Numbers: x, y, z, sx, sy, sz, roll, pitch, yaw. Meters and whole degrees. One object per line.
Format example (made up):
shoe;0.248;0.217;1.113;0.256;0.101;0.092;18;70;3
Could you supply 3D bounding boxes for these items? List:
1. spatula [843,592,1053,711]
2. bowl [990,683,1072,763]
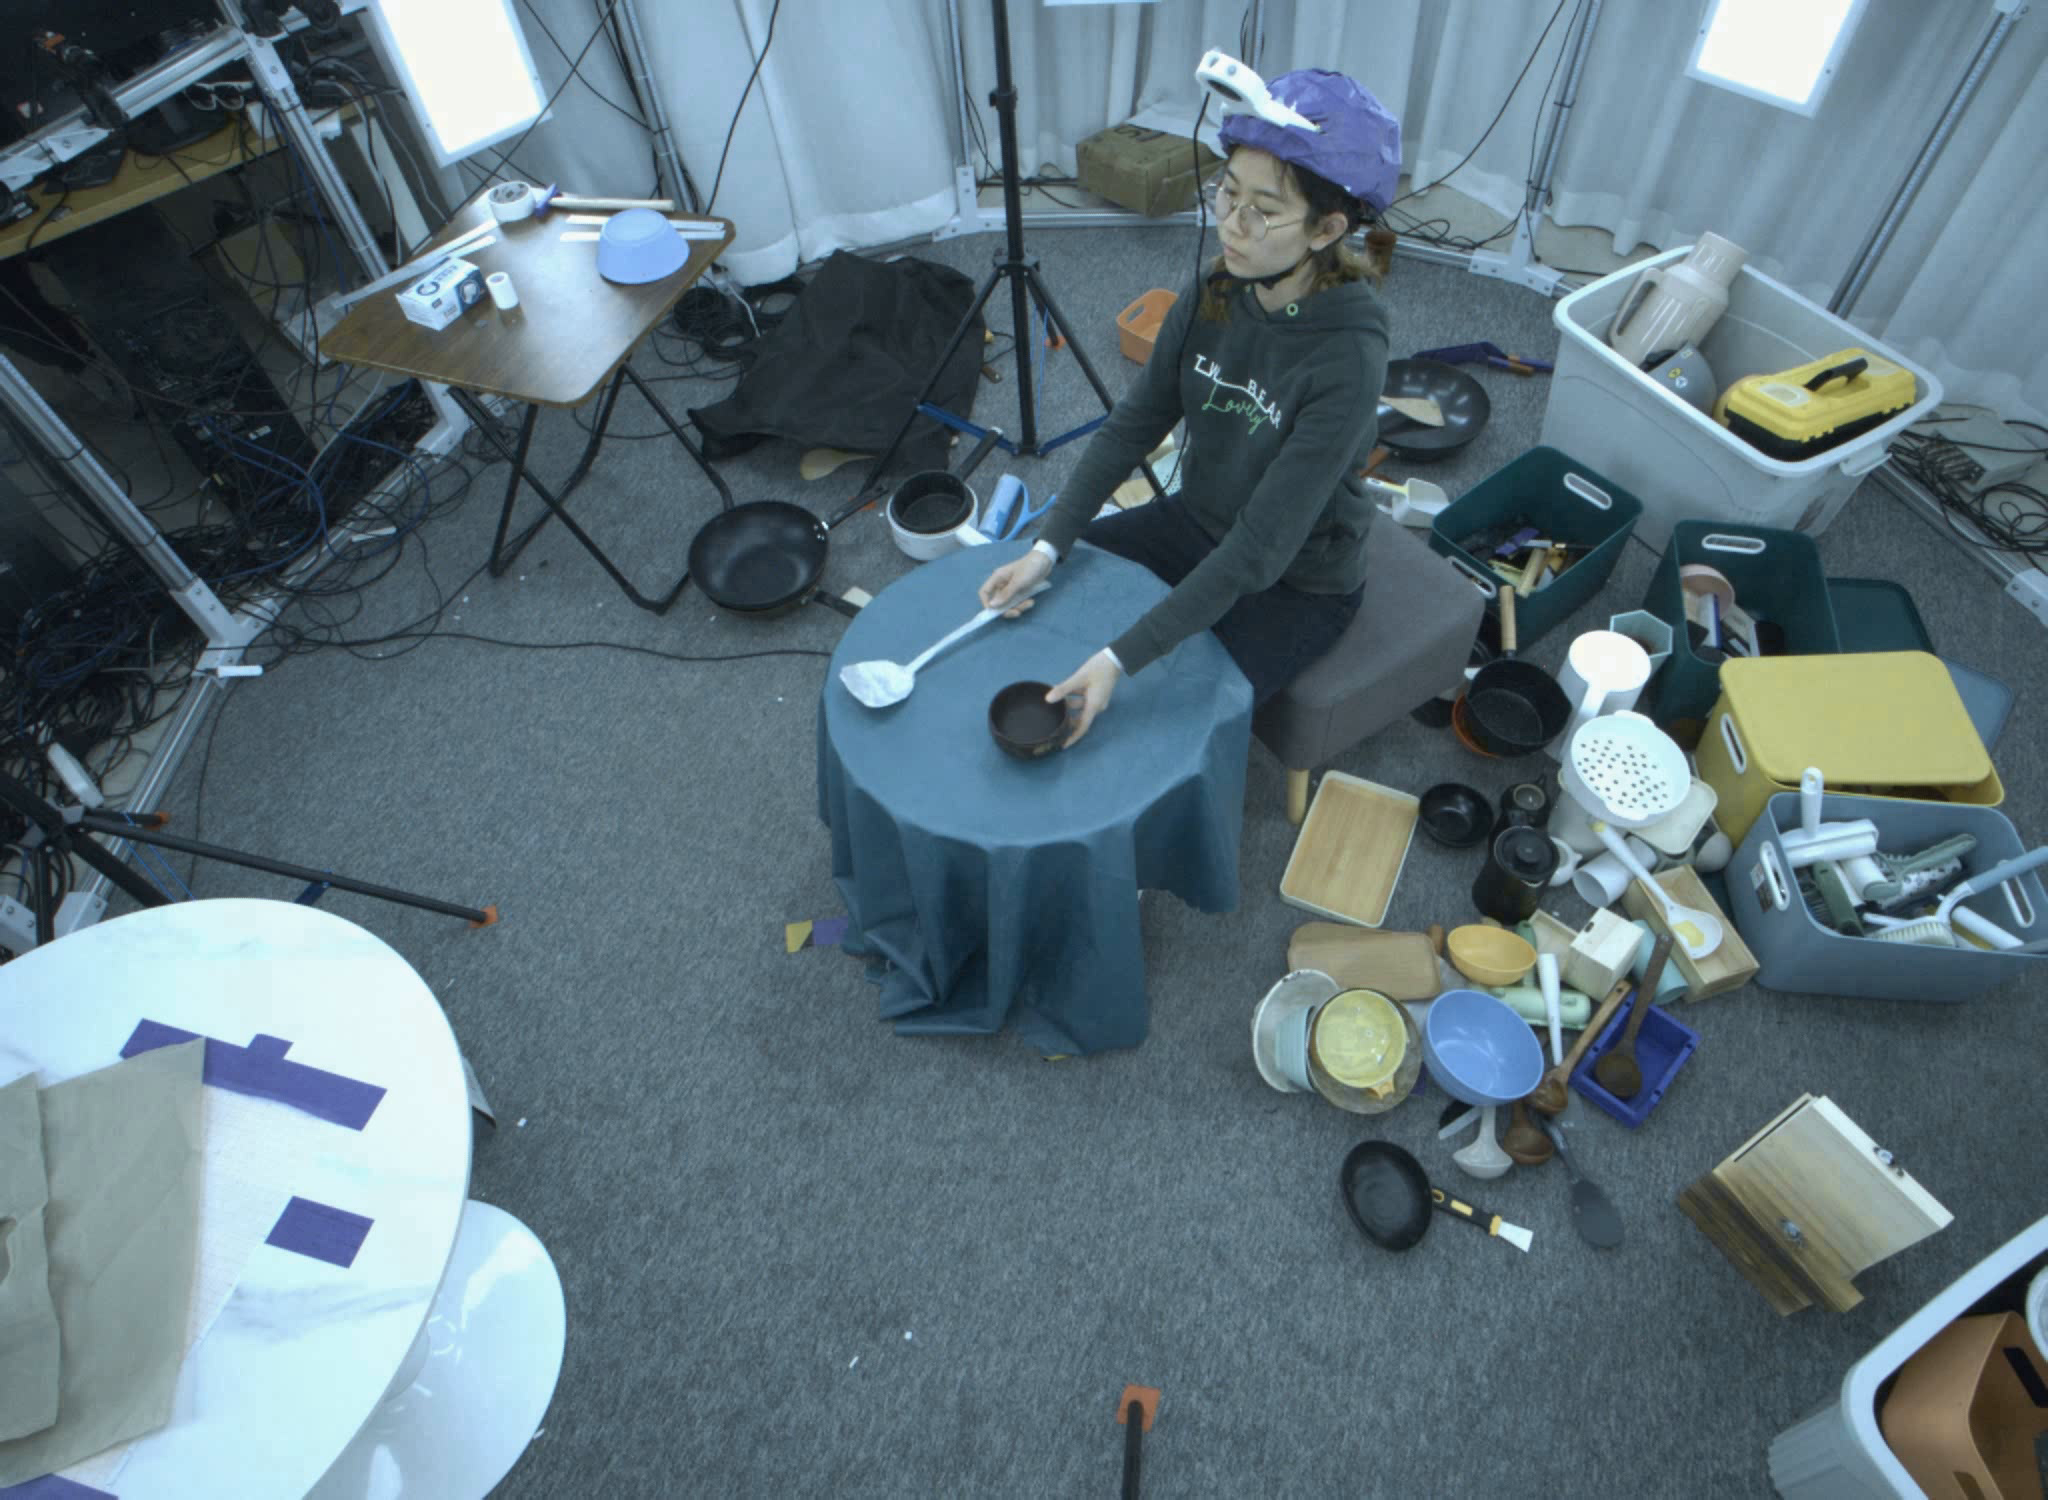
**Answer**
spatula;-0.109;-0.167;1.889;0.367;0.045;0.097;-34;60;-17
bowl;0.011;-0.031;1.775;0.118;0.070;0.117;1;55;0
